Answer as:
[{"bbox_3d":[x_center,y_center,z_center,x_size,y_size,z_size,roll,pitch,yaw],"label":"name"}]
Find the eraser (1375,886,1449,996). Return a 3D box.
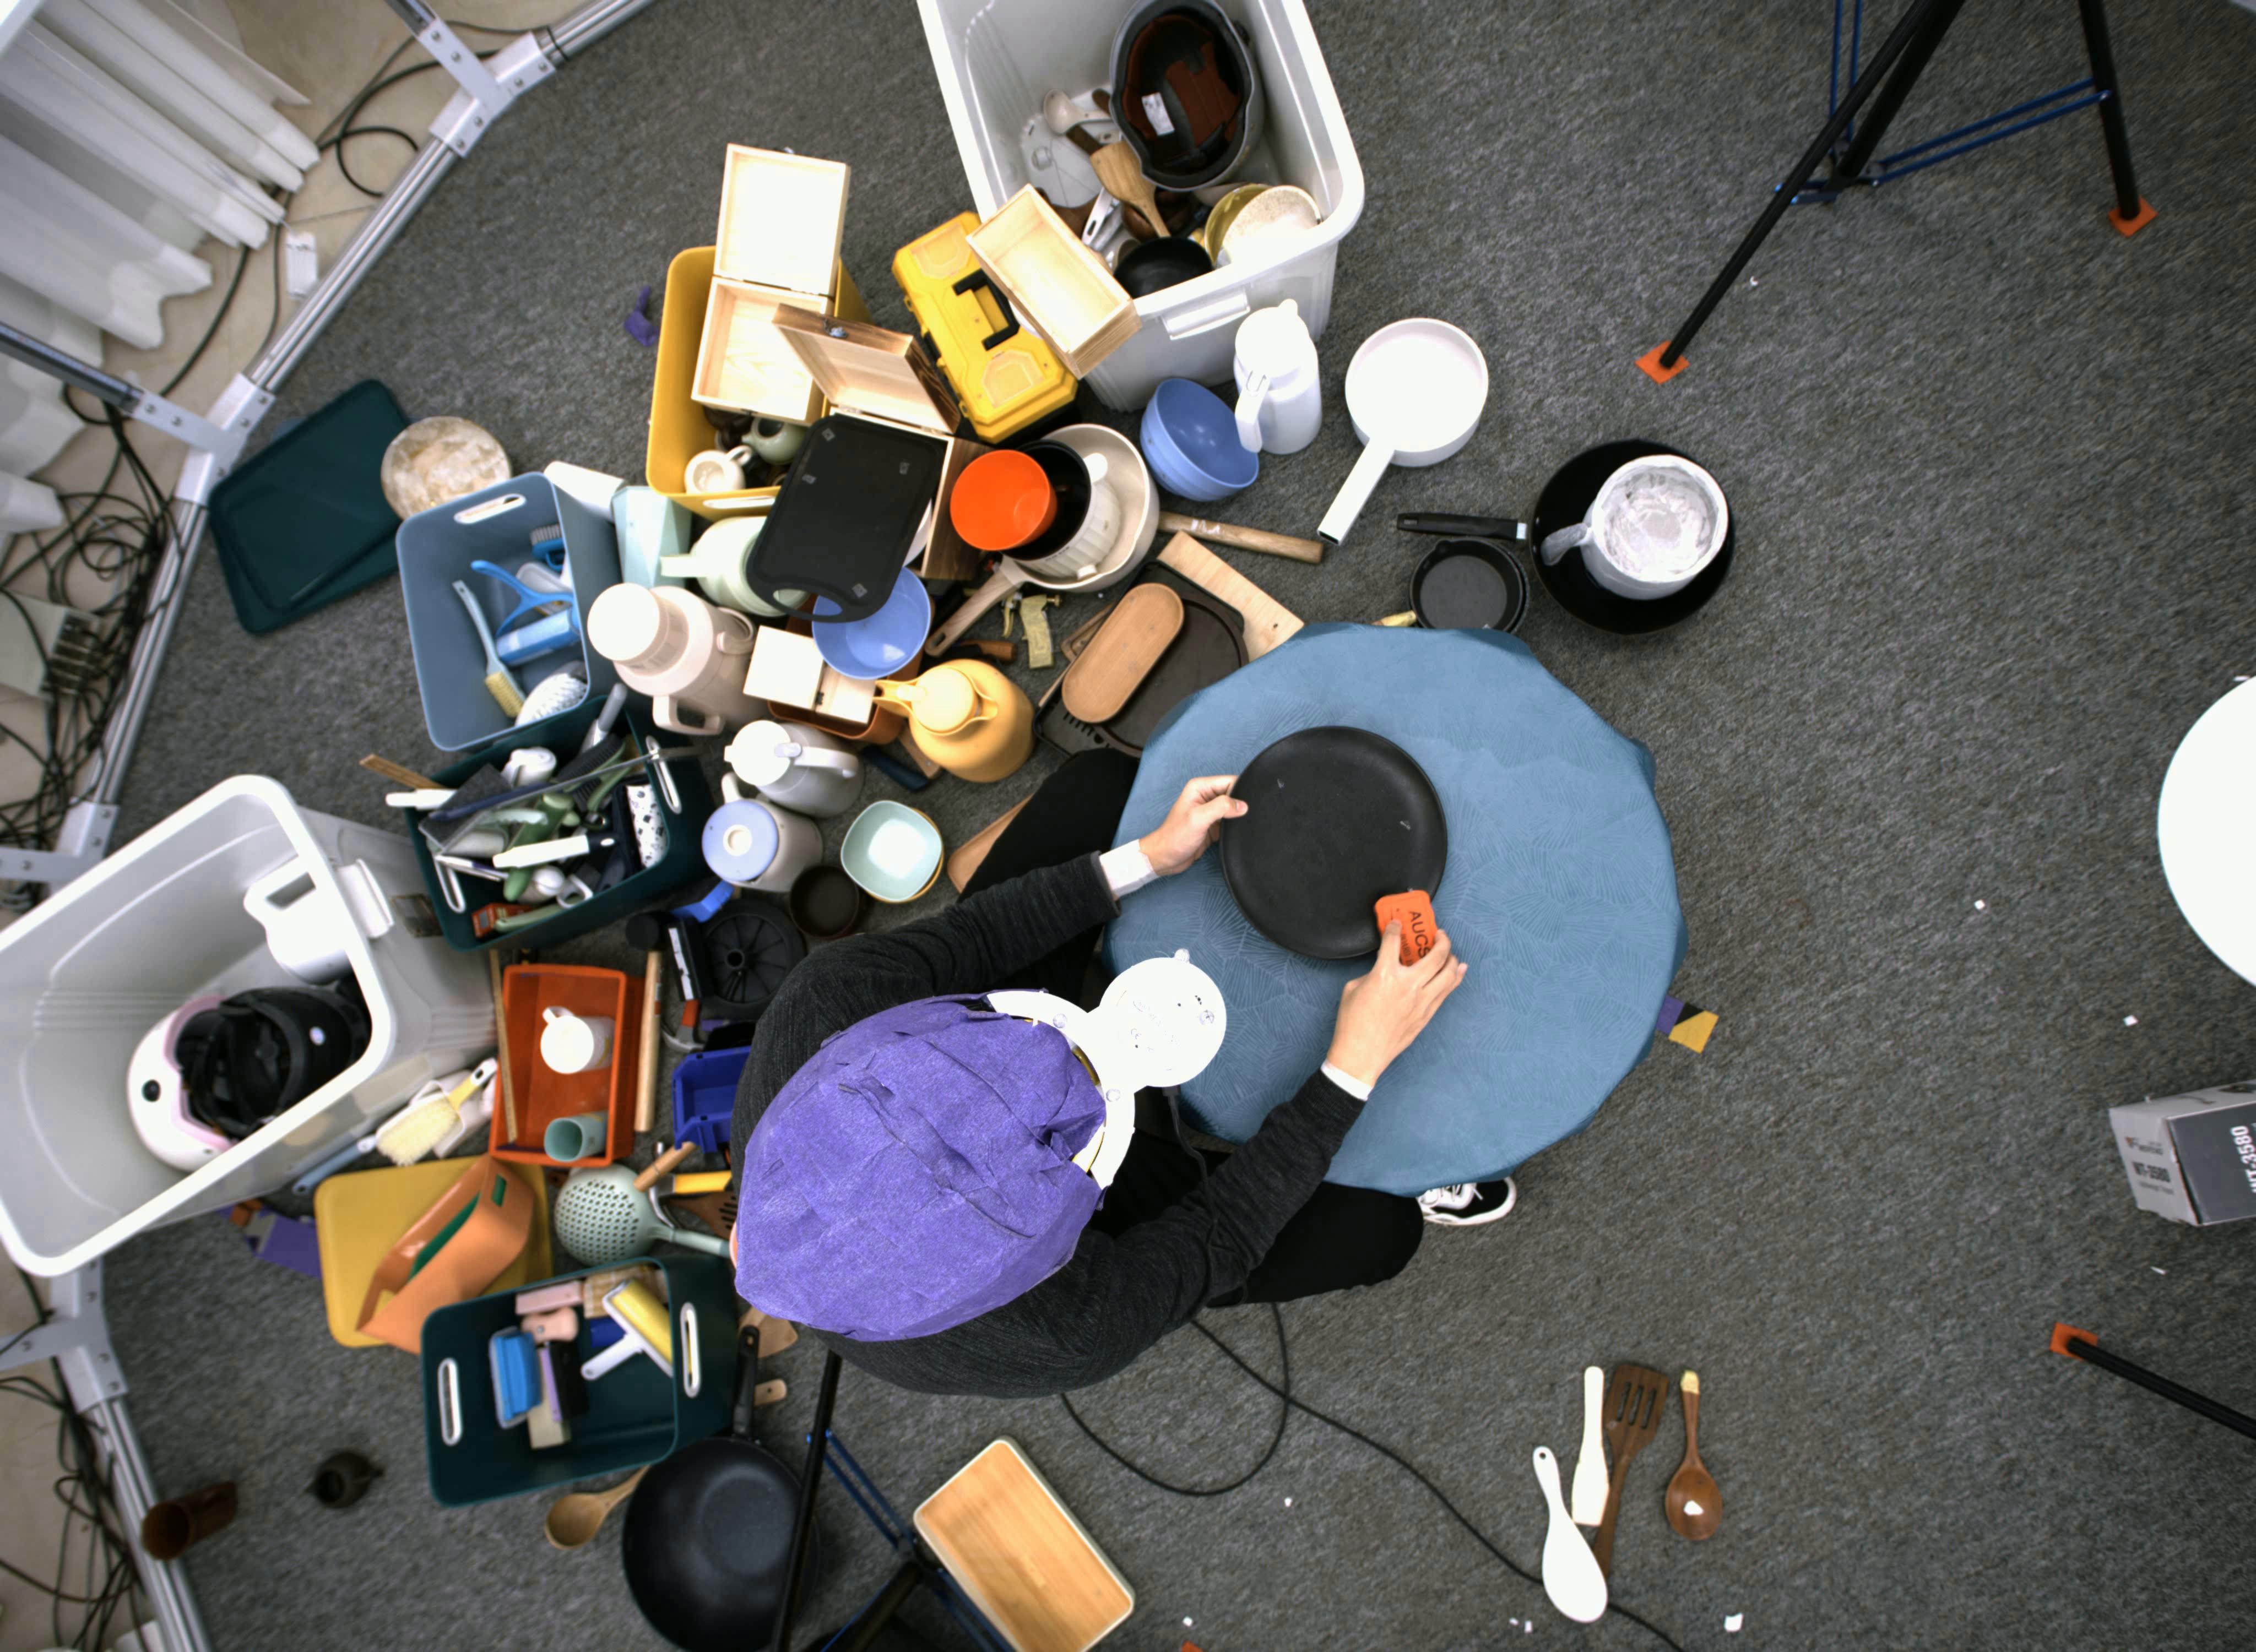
[{"bbox_3d":[0.293,0.118,1.424,0.059,0.023,0.107,-12,84,11],"label":"eraser"}]

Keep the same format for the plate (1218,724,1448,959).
[{"bbox_3d":[0.212,0.015,1.436,0.244,0.023,0.245,0,94,-5],"label":"plate"}]
